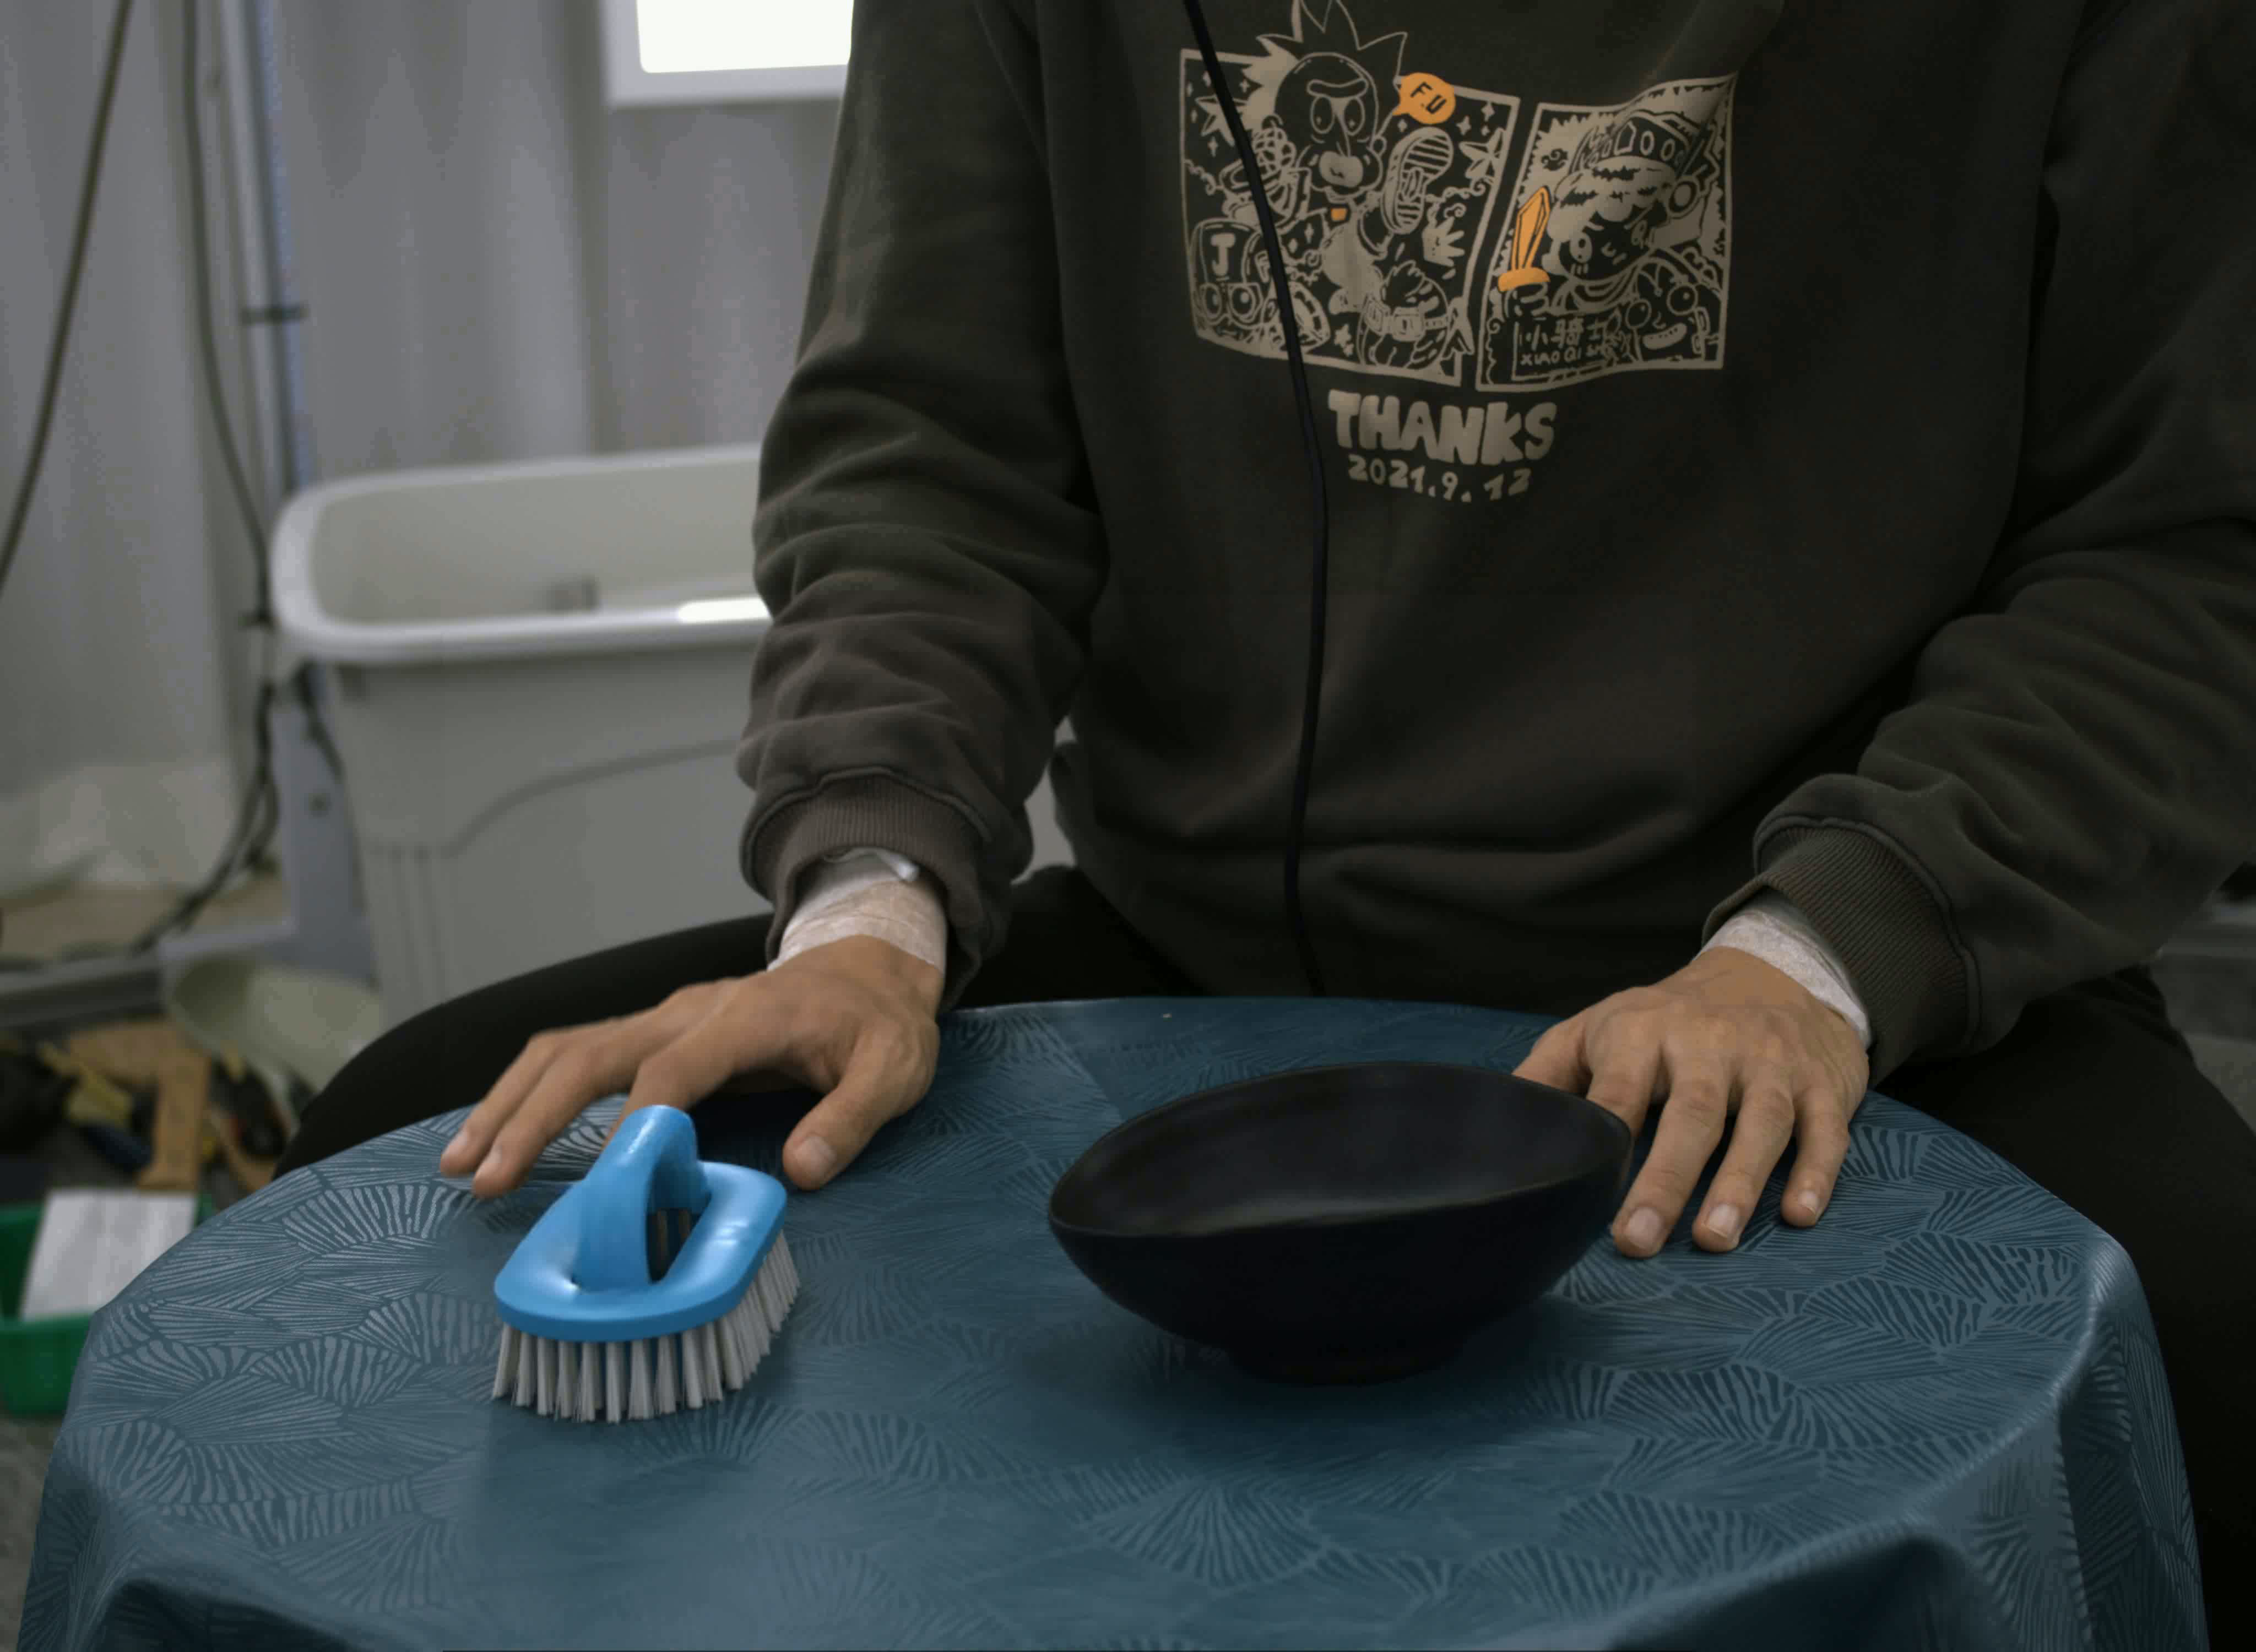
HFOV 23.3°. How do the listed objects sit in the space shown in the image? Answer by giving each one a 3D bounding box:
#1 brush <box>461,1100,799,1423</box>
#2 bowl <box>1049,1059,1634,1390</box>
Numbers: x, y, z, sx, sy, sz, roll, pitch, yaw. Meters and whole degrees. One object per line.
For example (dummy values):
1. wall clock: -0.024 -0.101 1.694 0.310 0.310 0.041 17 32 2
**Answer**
1. brush: -0.145 0.120 1.604 0.084 0.063 0.142 4 17 9
2. bowl: 0.063 0.120 1.569 0.169 0.066 0.138 -7 15 -10
